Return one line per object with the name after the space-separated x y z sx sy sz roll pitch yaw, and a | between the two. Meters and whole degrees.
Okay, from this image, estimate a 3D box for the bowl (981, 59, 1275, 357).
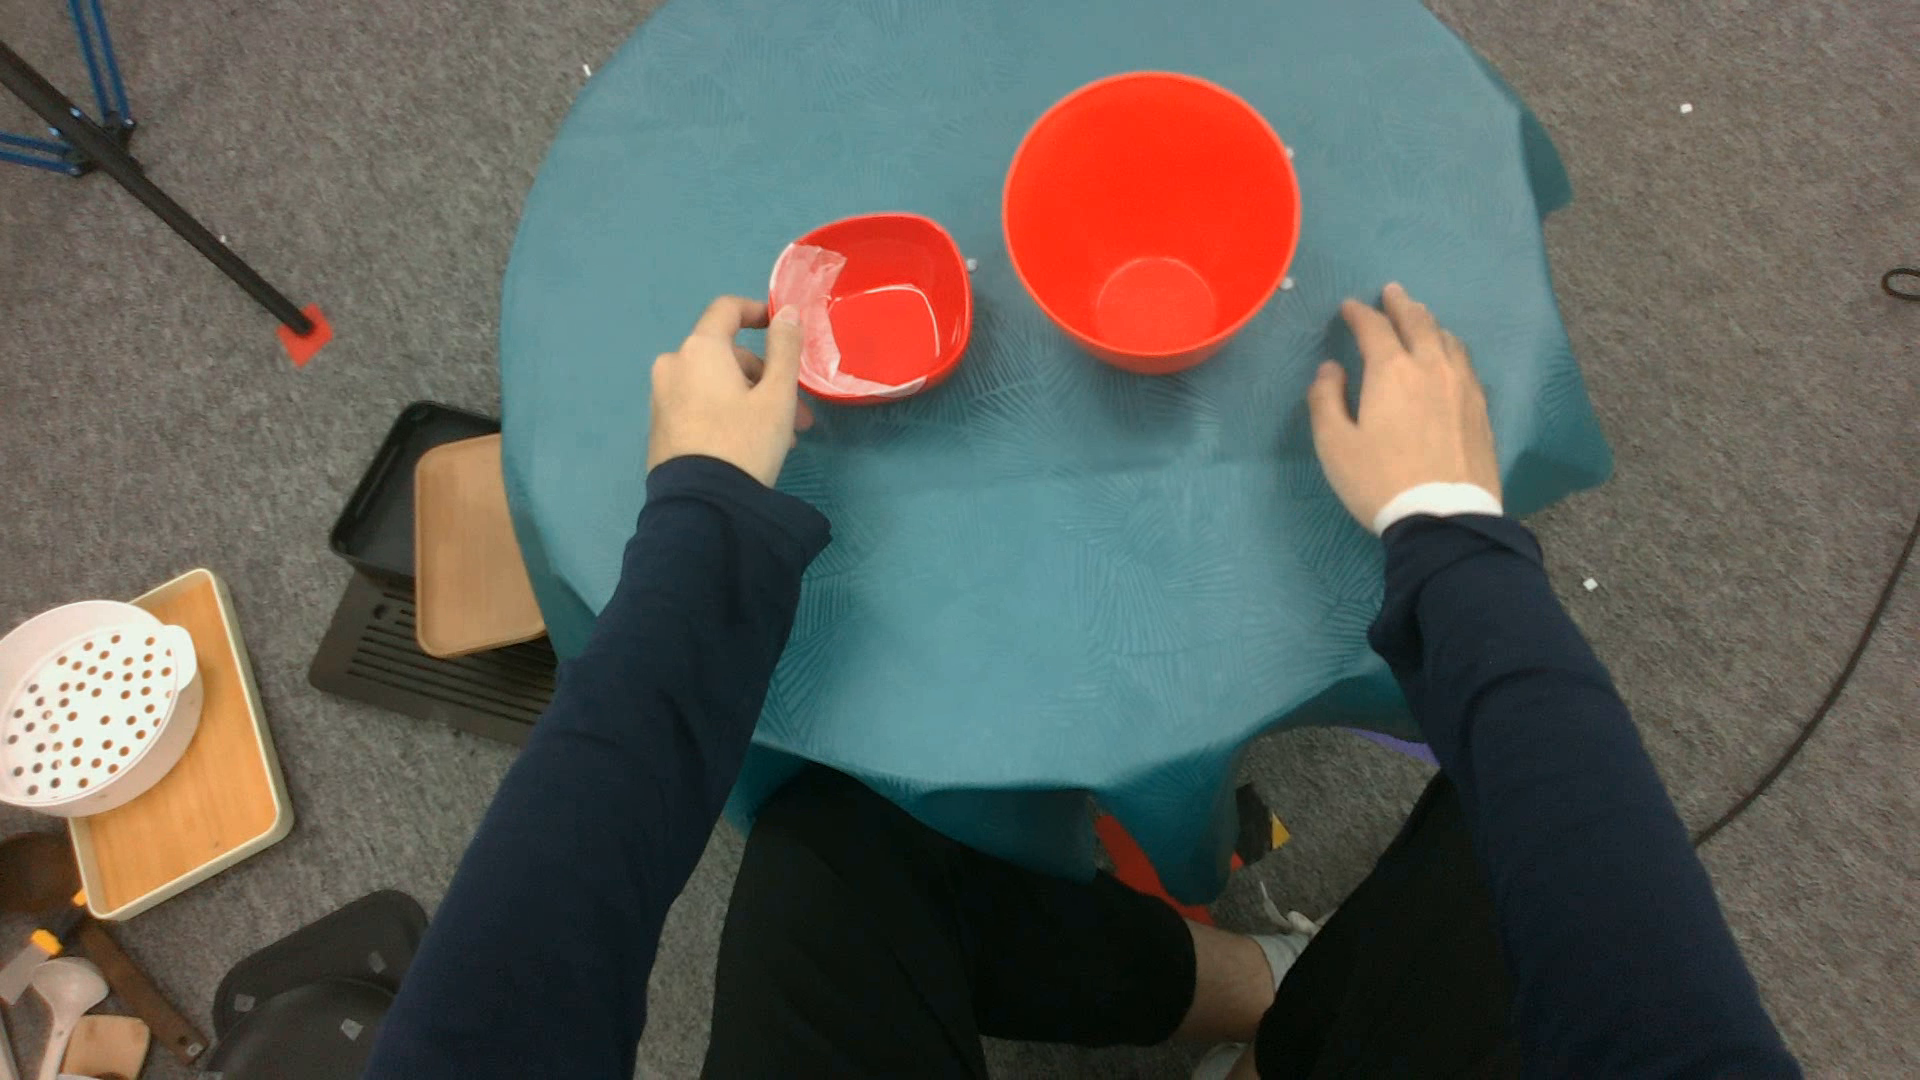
0.088 -0.161 0.730 0.148 0.104 0.148 -1 71 4 | bowl

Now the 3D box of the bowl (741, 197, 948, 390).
-0.060 -0.127 0.758 0.119 0.051 0.119 -1 70 4 | bowl
